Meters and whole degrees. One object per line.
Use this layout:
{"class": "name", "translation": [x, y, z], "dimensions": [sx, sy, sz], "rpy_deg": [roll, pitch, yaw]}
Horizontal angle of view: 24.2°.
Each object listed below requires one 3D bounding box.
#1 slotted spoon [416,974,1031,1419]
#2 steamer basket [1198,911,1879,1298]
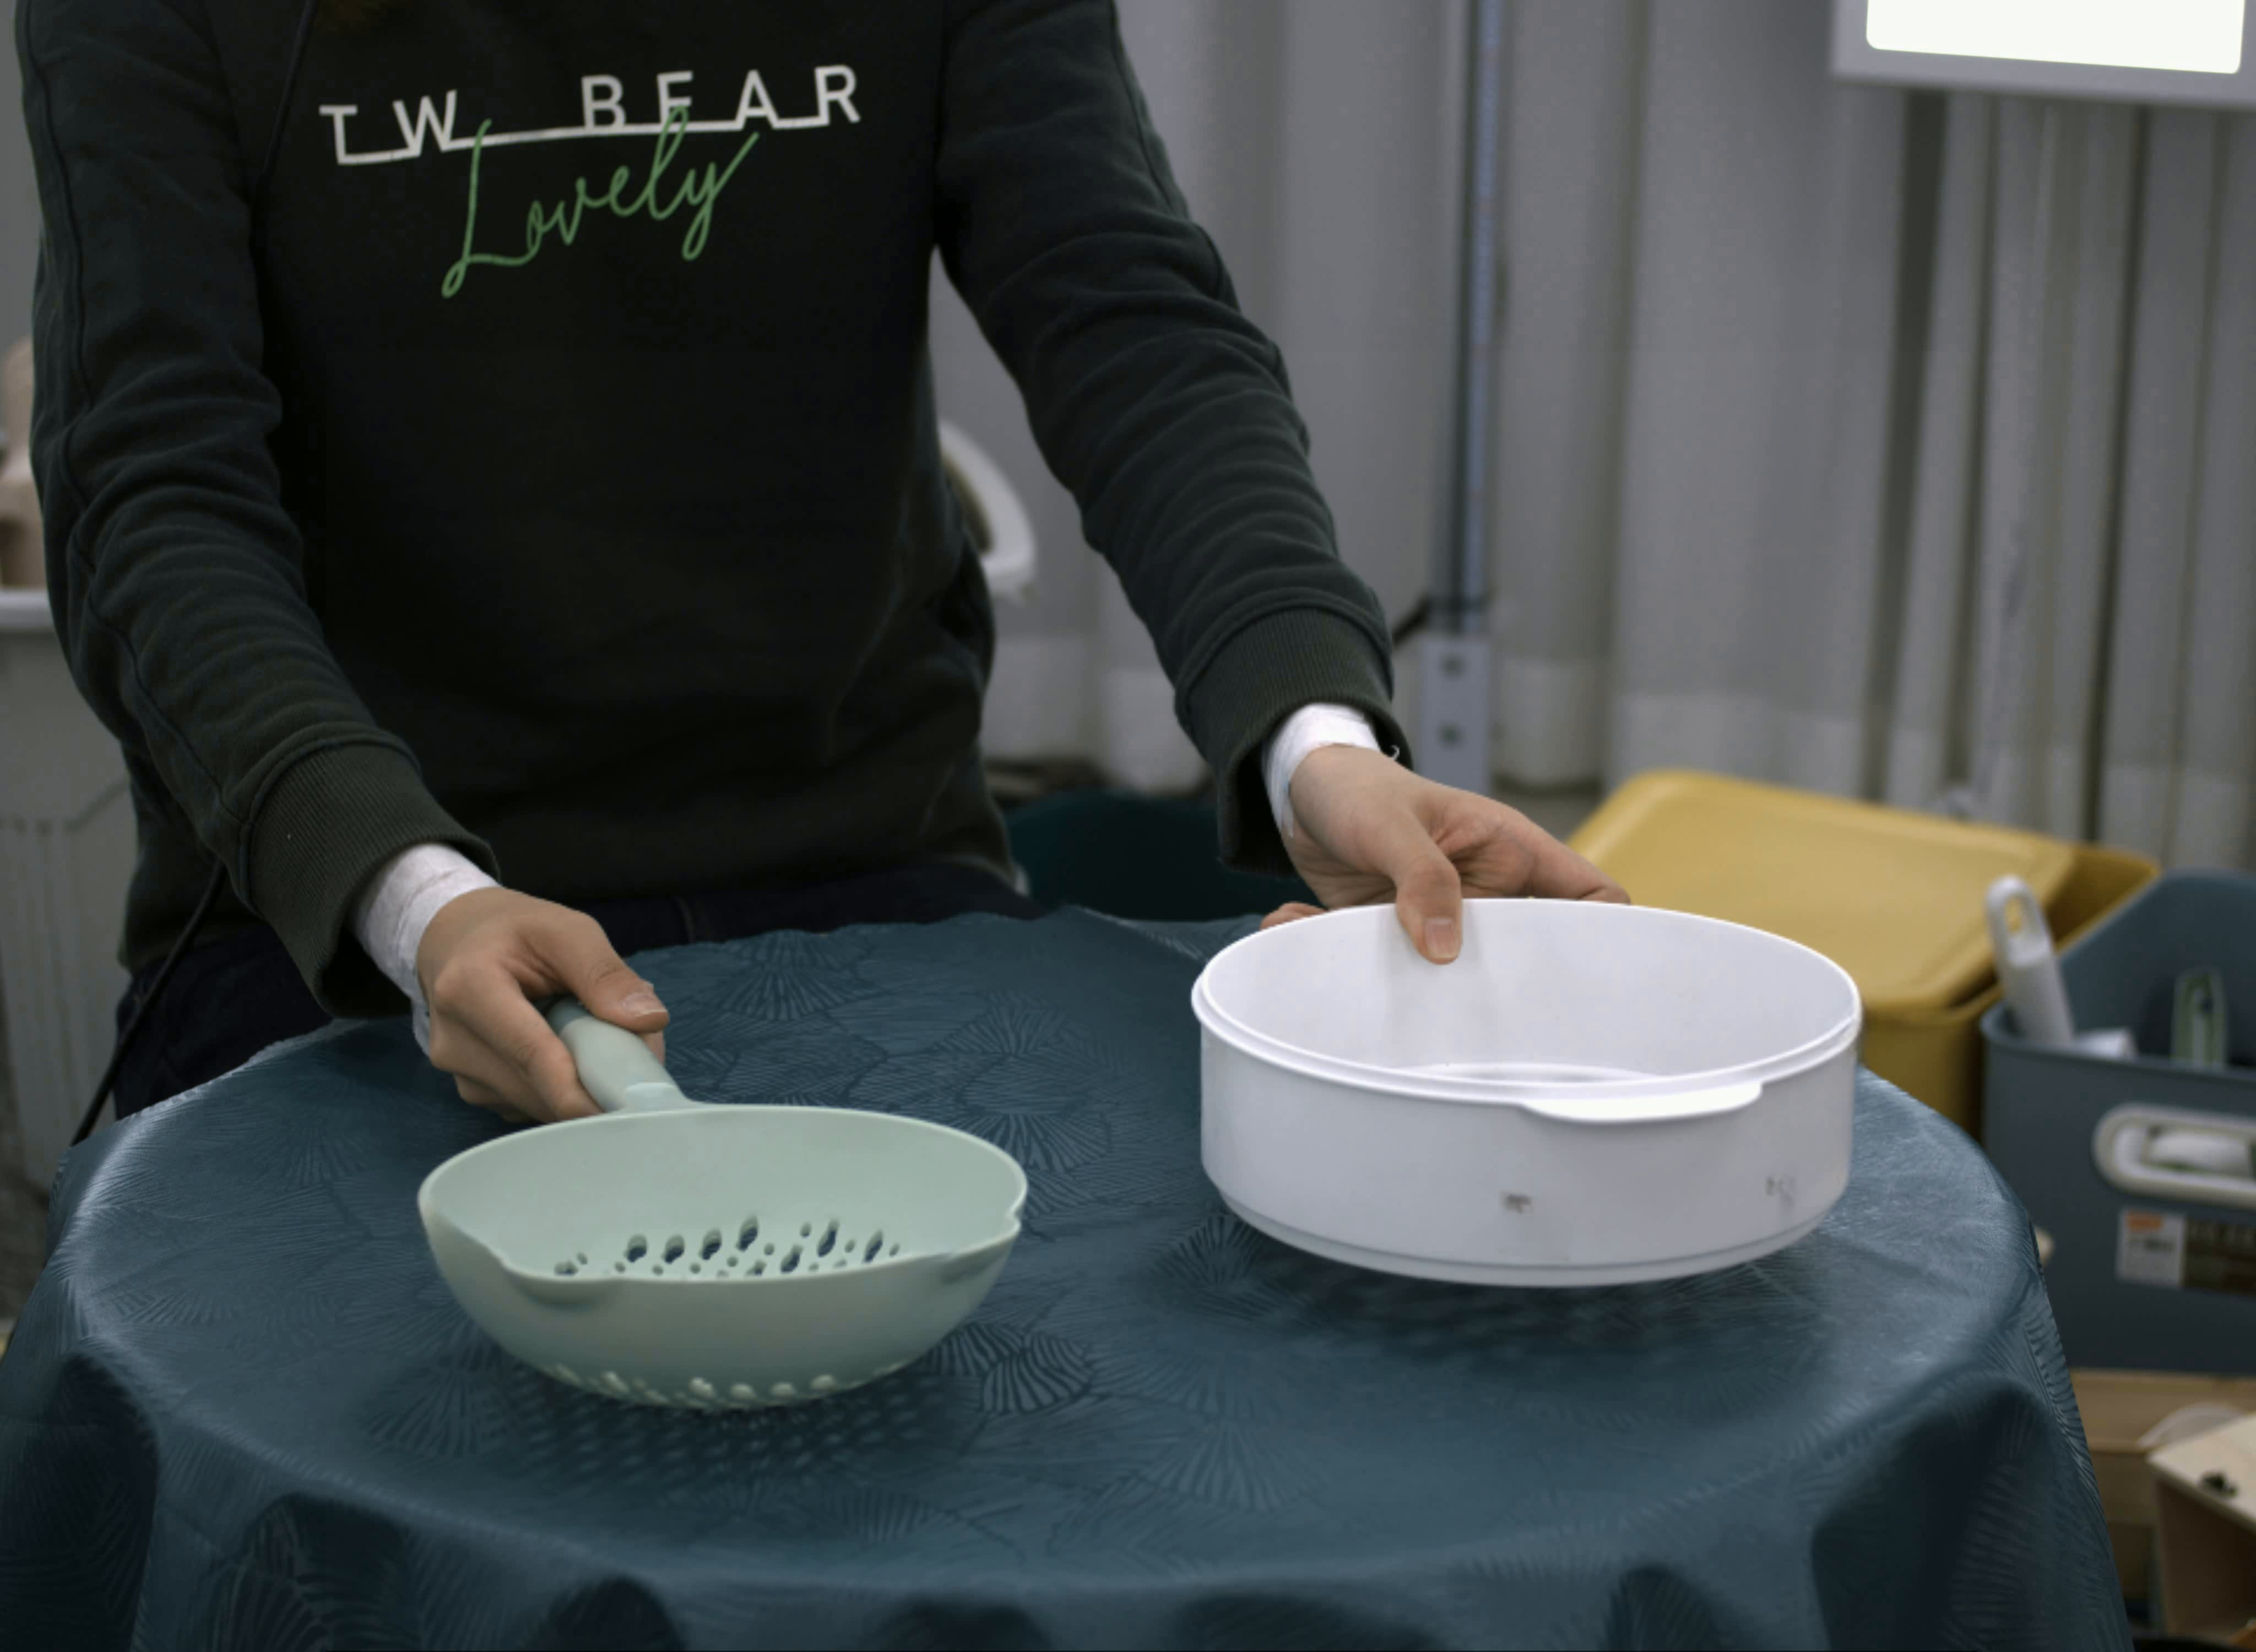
{"class": "slotted spoon", "translation": [-0.137, 0.092, 1.546], "dimensions": [0.169, 0.076, 0.355], "rpy_deg": [-3, 21, -16]}
{"class": "steamer basket", "translation": [0.121, 0.082, 1.565], "dimensions": [0.202, 0.070, 0.228], "rpy_deg": [-3, 15, -17]}
